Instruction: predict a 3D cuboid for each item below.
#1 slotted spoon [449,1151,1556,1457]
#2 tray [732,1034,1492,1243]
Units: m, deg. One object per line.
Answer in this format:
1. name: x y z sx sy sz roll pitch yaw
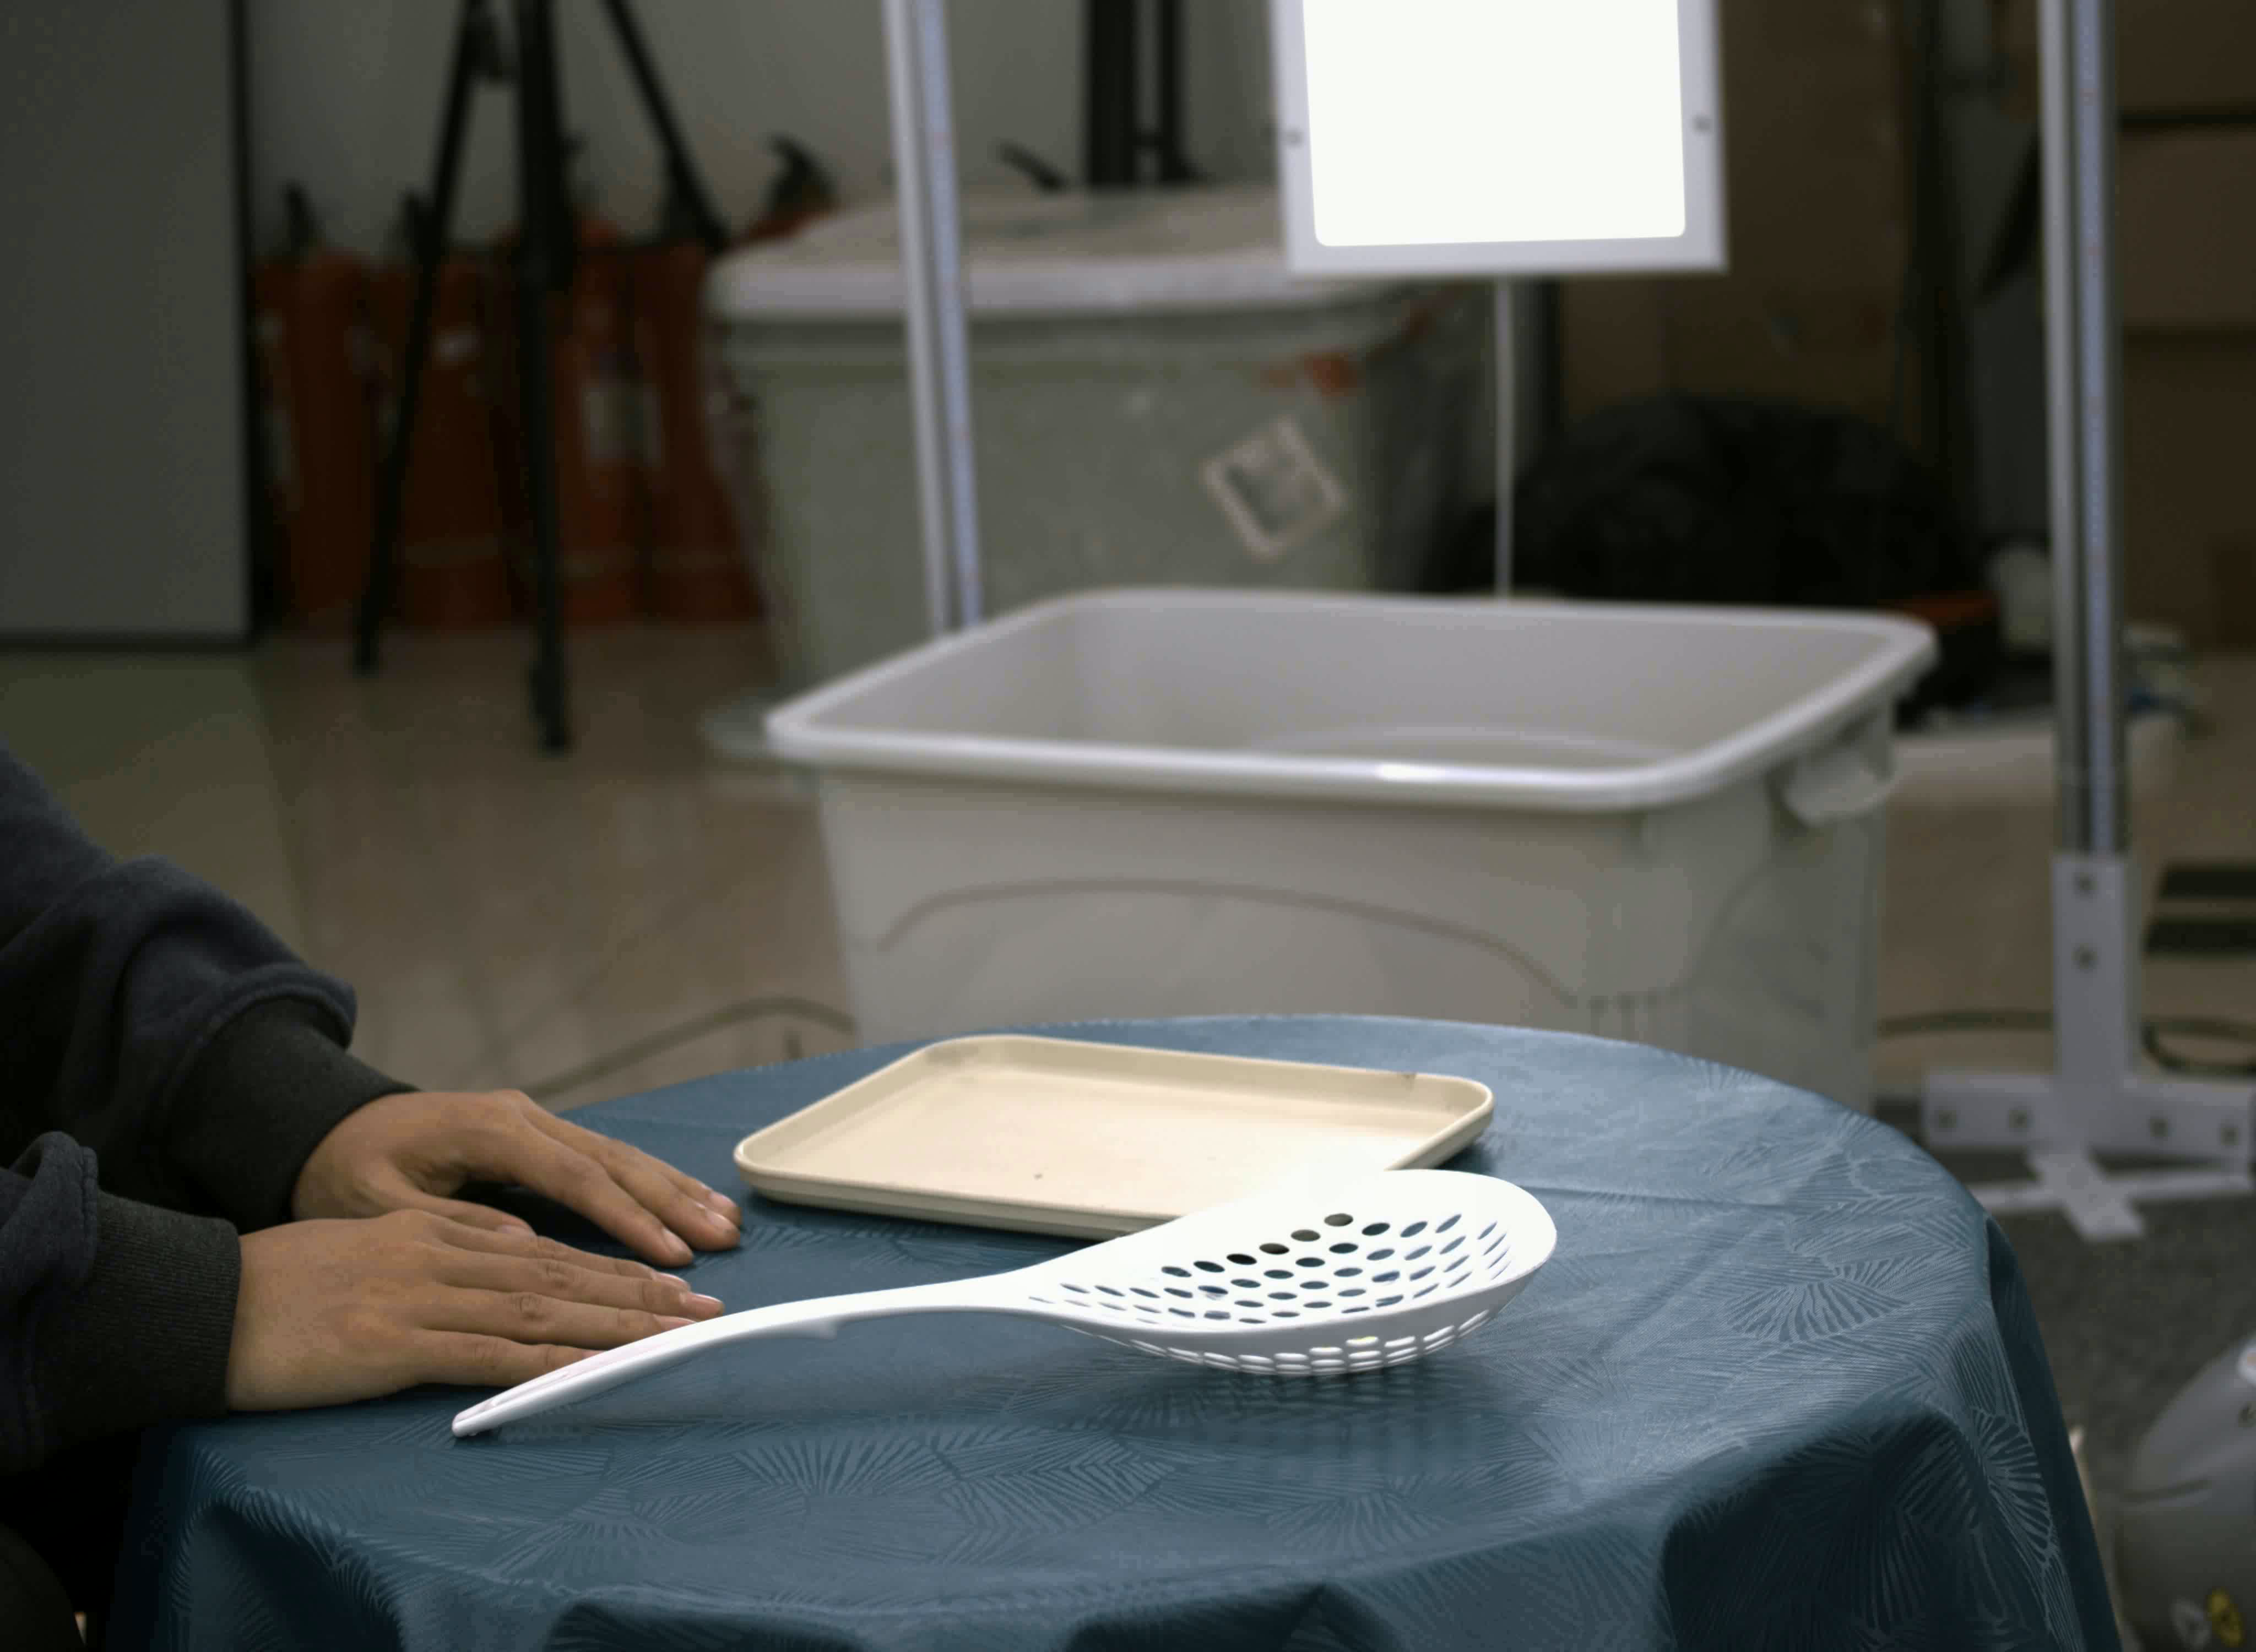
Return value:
1. slotted spoon: -0.039 0.154 1.708 0.347 0.050 0.136 -5 15 0
2. tray: -0.005 0.111 1.926 0.244 0.017 0.167 4 17 33
